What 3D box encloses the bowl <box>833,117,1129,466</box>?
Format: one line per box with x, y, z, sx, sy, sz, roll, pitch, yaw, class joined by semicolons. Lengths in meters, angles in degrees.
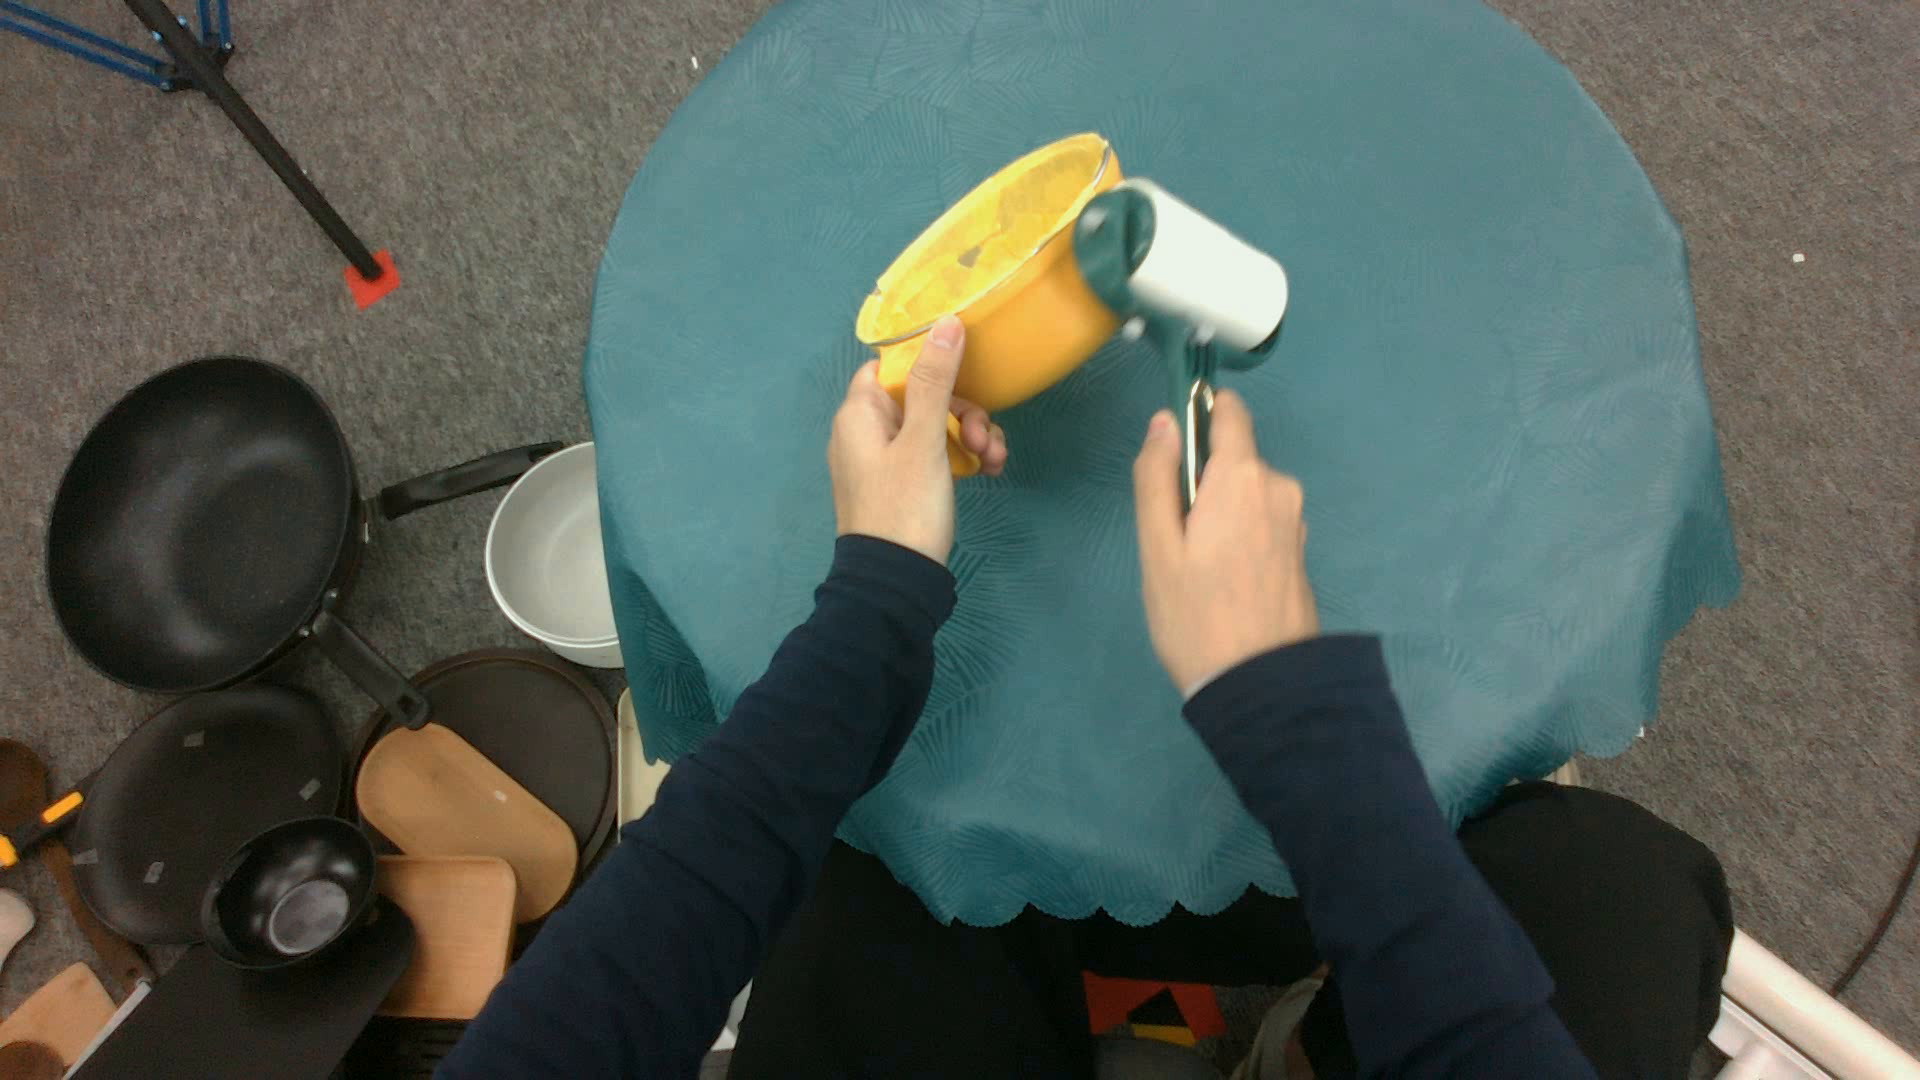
0.008;-0.123;0.679;0.152;0.074;0.180;-14;38;39;bowl

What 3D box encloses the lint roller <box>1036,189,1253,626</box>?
0.094;-0.054;0.602;0.048;0.134;0.180;-24;66;39;lint roller
